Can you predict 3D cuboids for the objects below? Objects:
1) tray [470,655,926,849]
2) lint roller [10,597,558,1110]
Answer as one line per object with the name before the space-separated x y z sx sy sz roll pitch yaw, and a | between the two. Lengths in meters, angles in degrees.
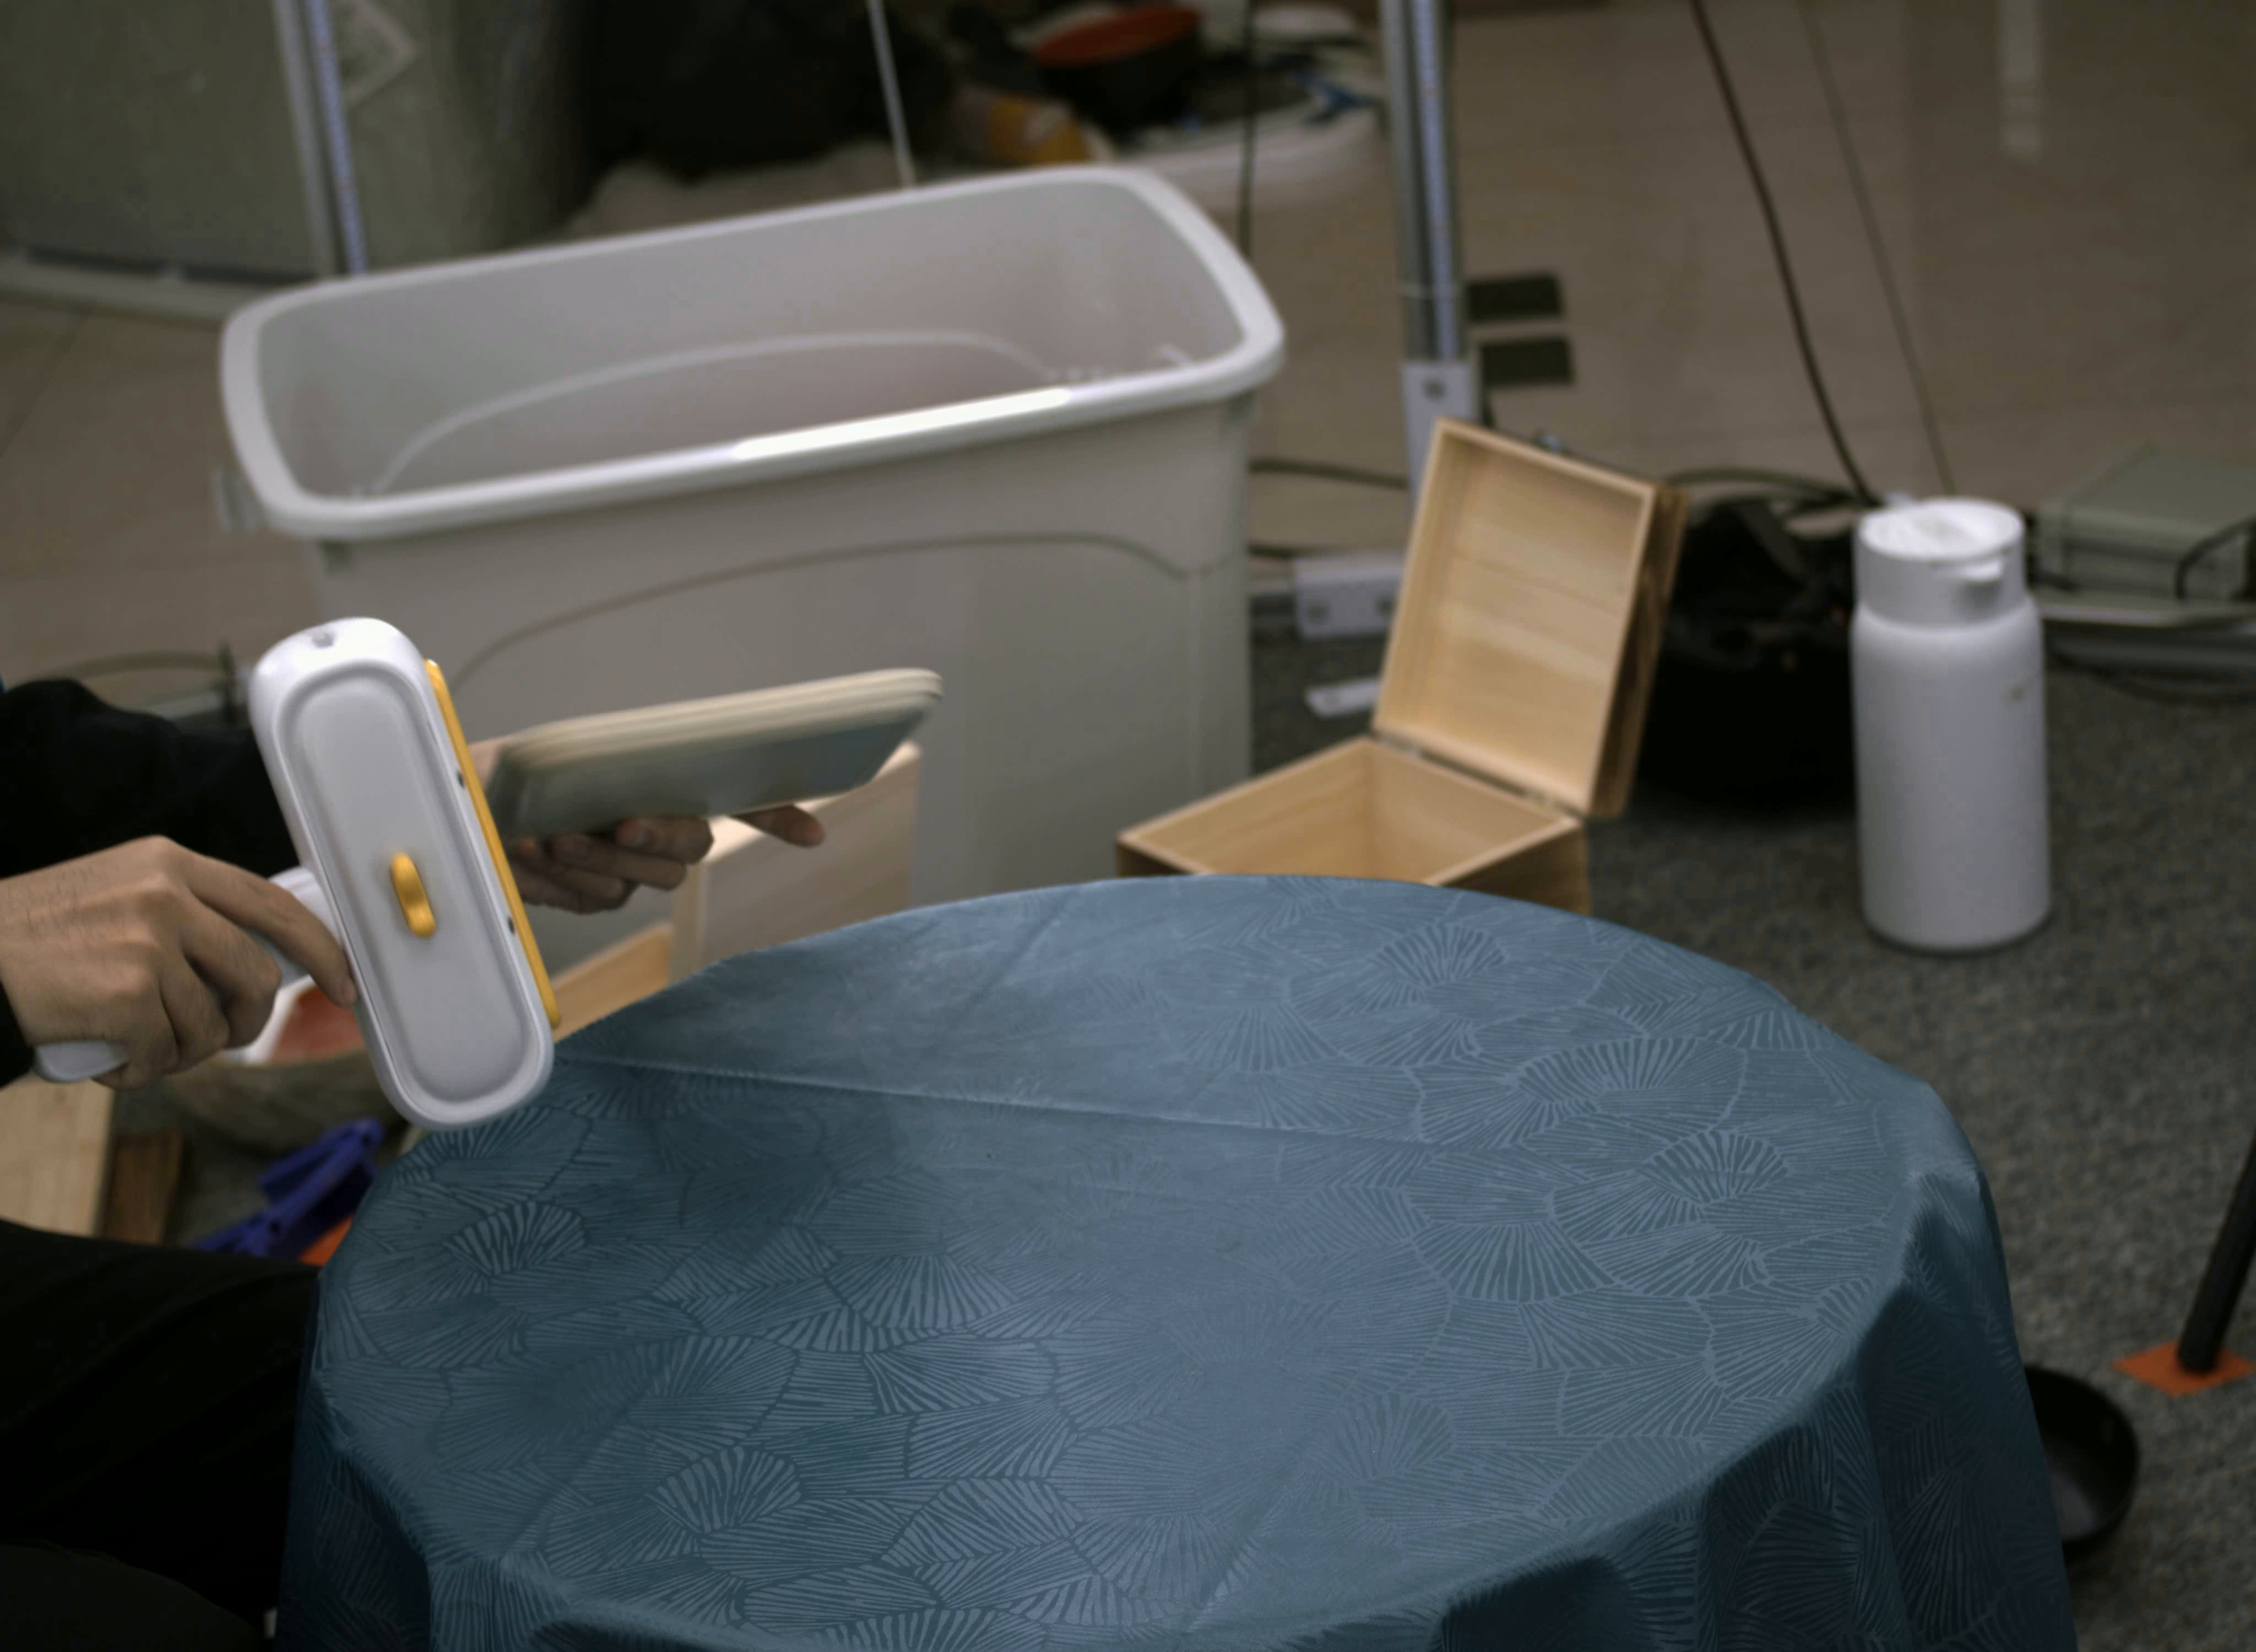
tray | -0.170 -0.026 2.215 0.171 0.017 0.241 -11 -7 -9
lint roller | -0.313 0.037 2.021 0.191 0.195 0.073 -27 22 -16
